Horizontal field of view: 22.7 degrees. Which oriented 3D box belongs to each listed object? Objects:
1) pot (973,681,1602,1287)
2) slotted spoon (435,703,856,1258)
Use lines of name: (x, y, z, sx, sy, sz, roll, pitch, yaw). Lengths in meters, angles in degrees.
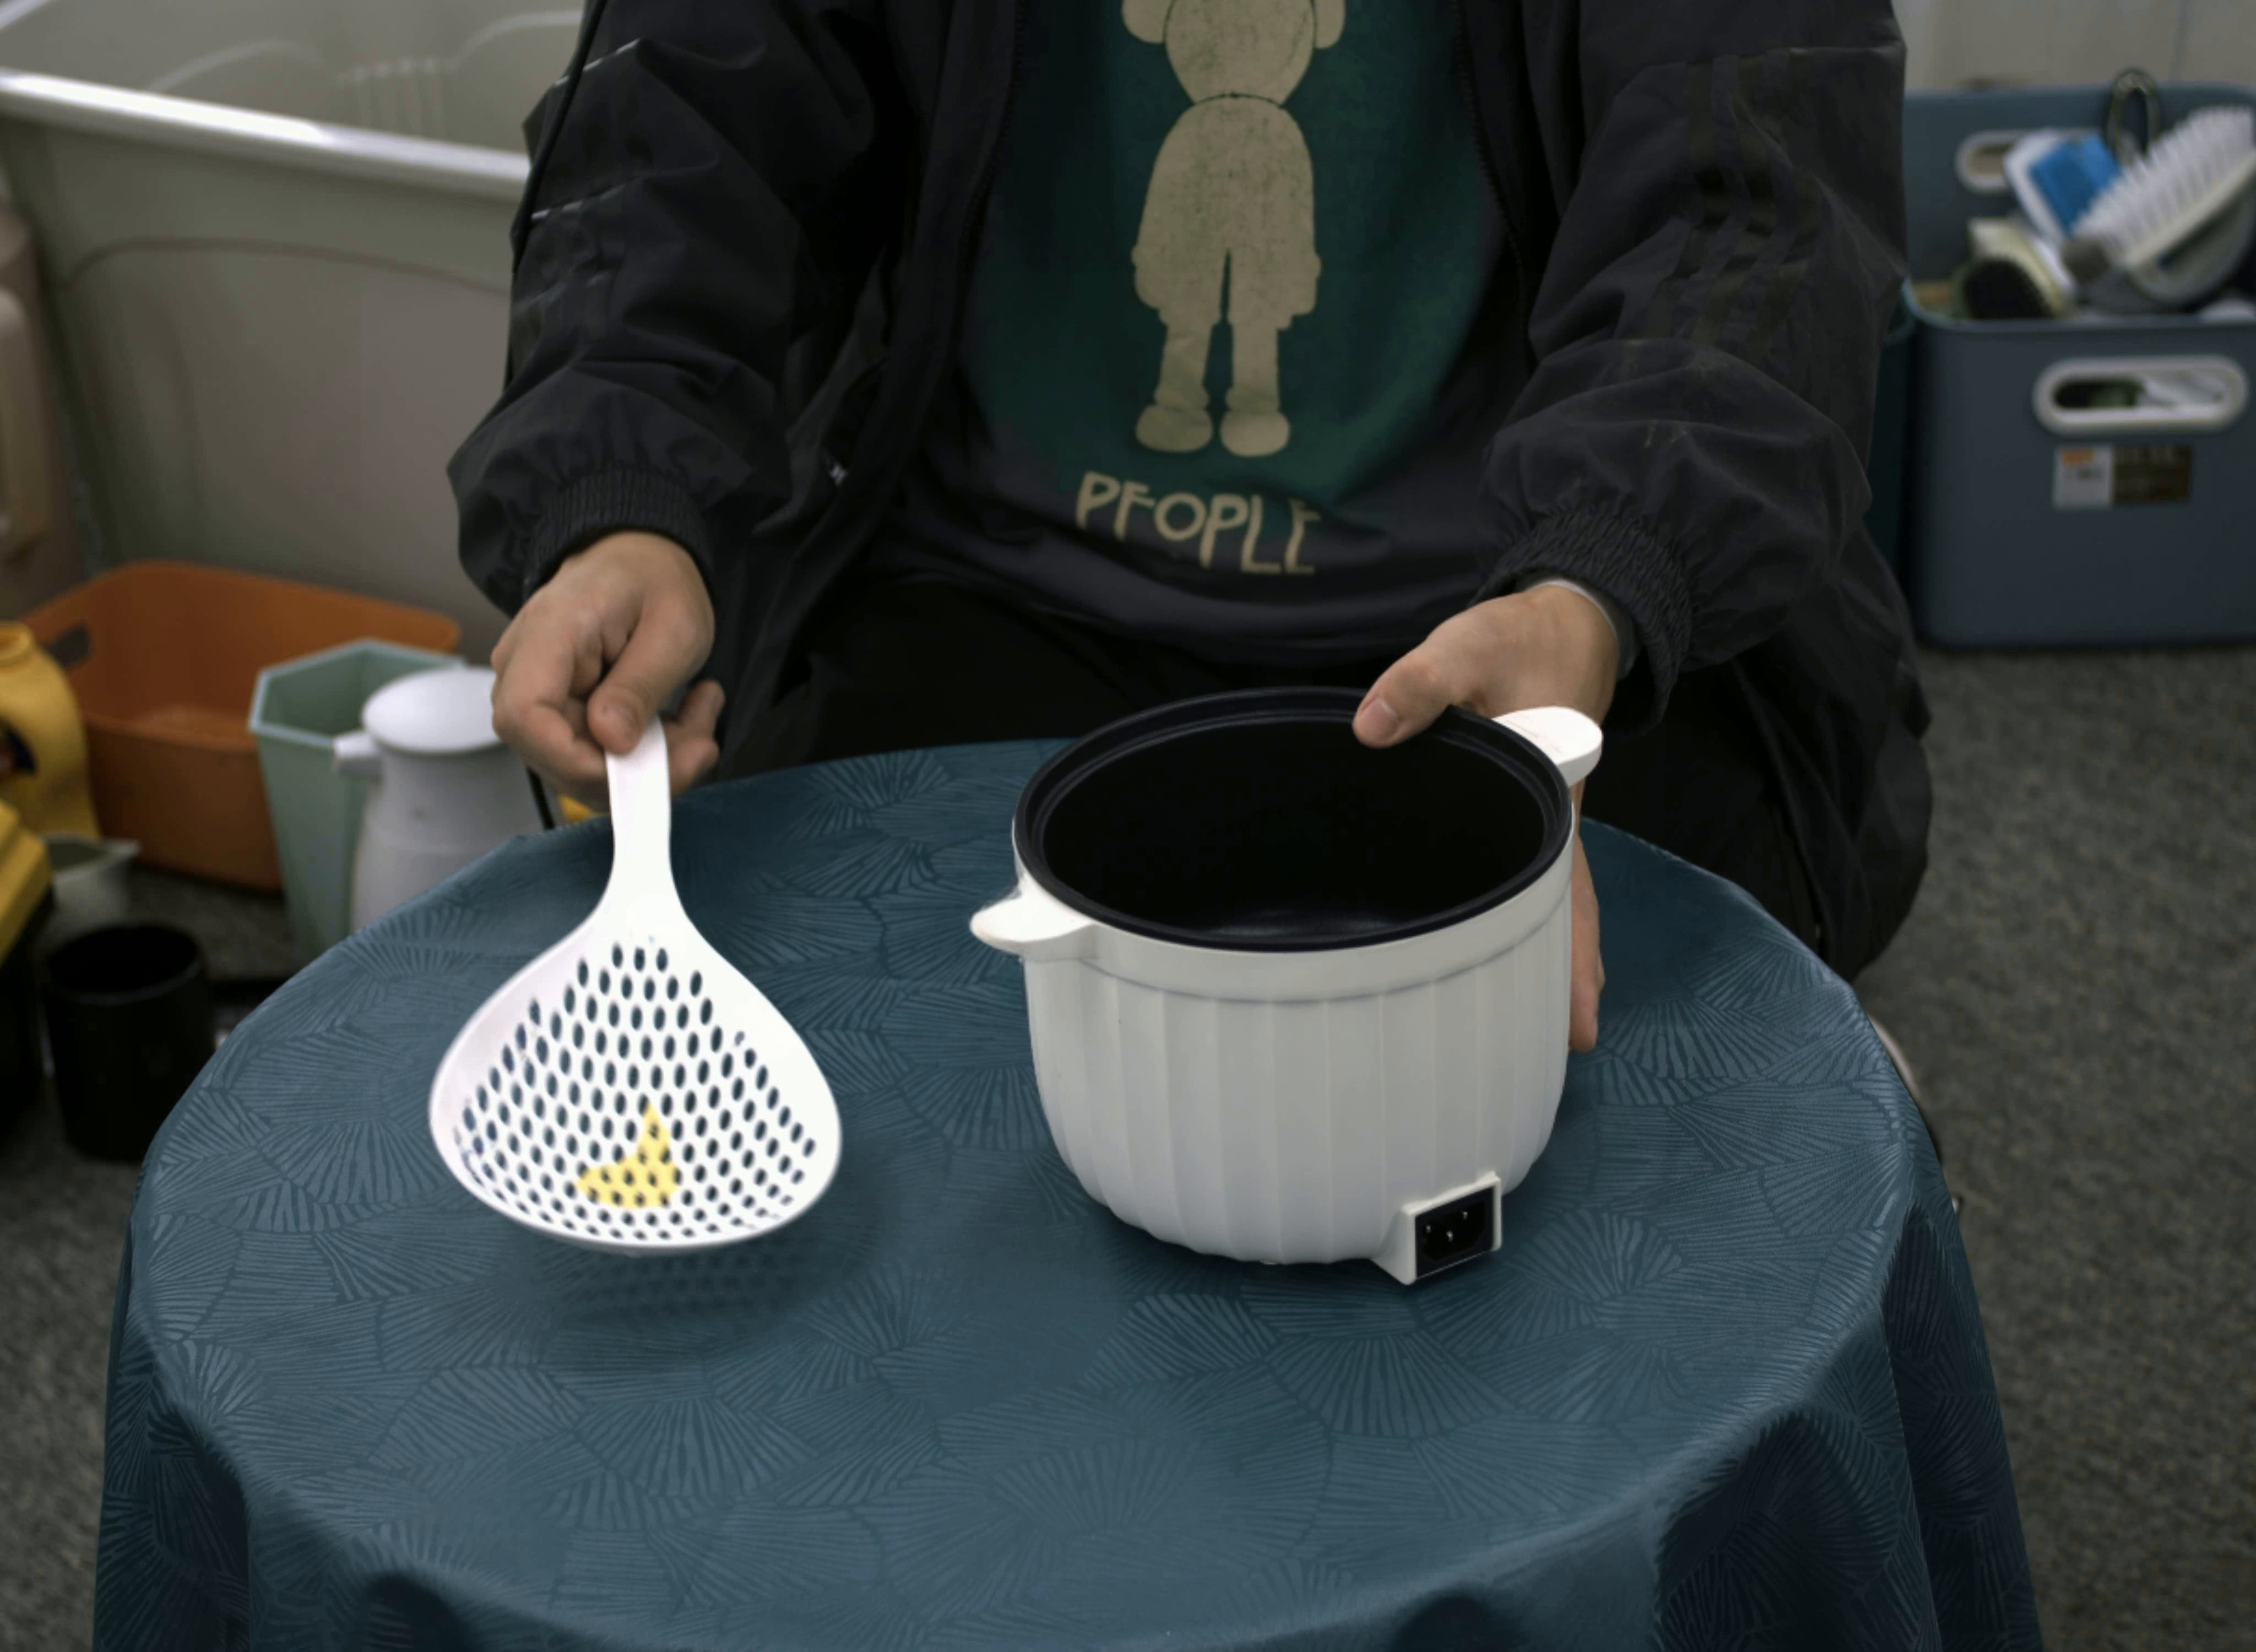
pot: (0.052, 0.052, 1.839, 0.242, 0.141, 0.191, -18, 33, -30)
slotted spoon: (-0.168, 0.043, 1.924, 0.136, 0.049, 0.354, 2, 37, -8)
